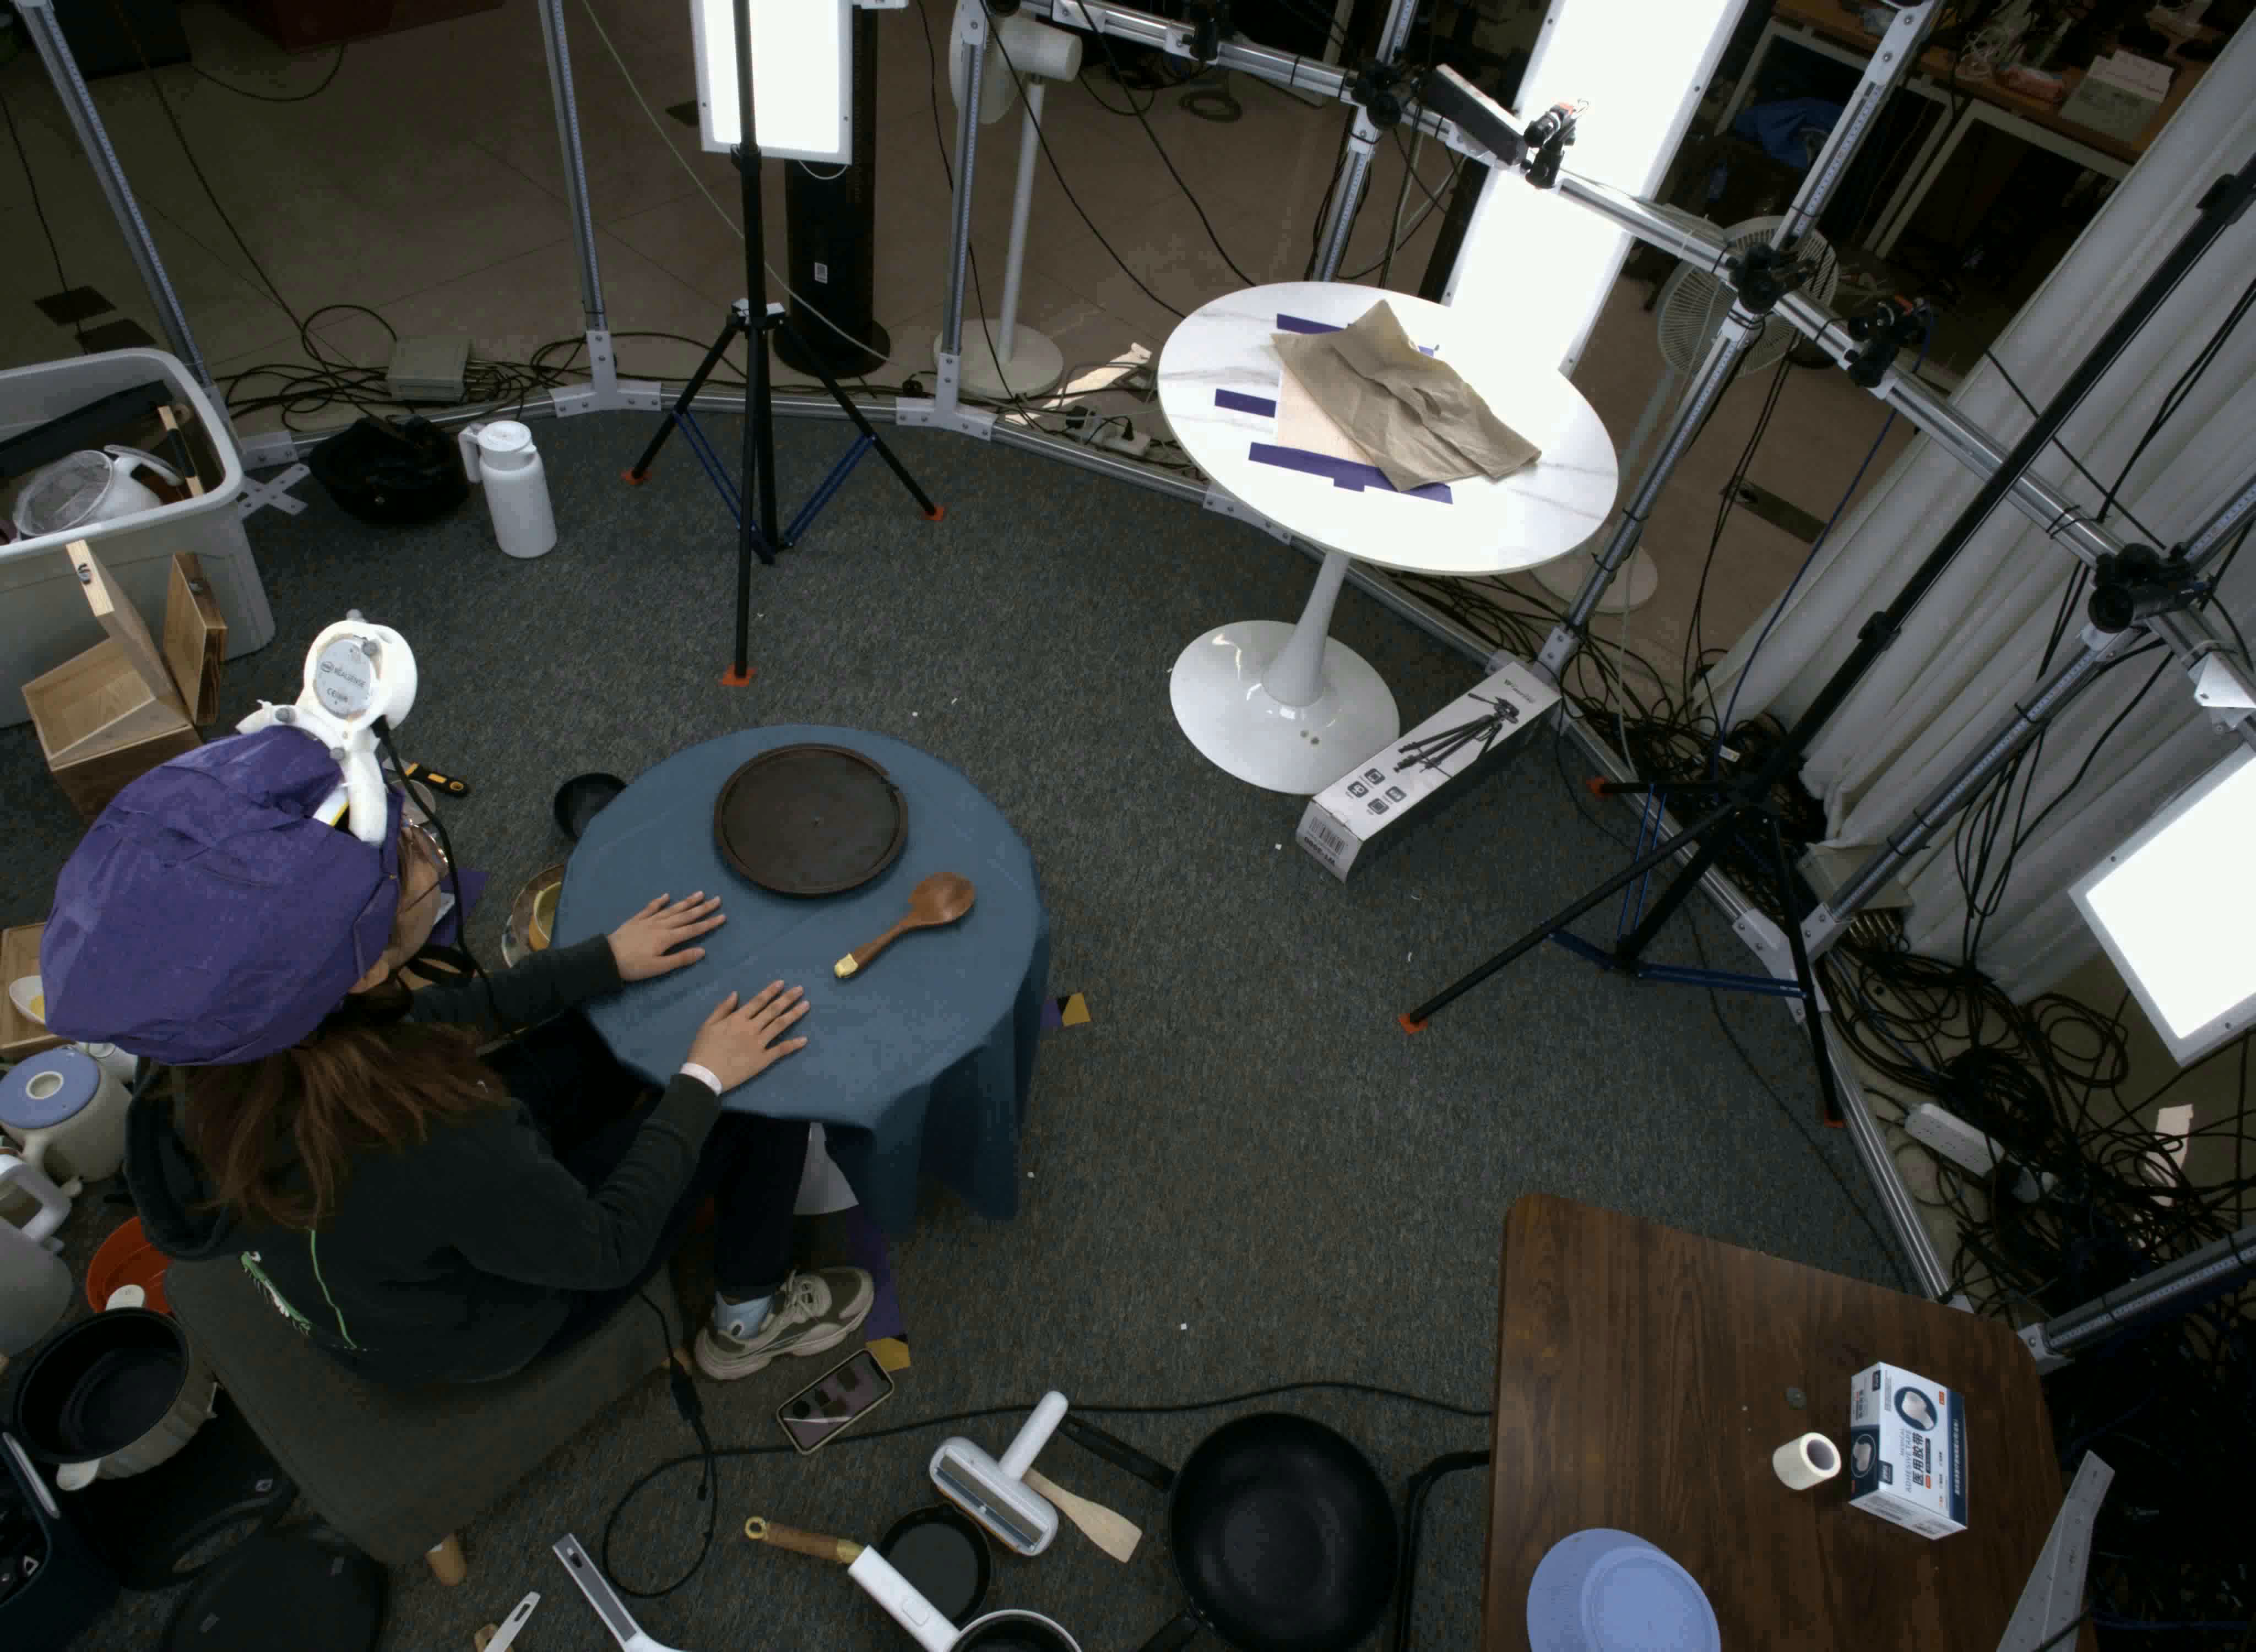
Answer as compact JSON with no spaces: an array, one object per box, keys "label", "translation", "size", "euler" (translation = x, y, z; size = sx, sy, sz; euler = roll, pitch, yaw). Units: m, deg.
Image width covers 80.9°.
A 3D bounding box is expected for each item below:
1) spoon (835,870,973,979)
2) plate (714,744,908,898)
[{"label":"spoon","translation":[-0.286,0.126,1.660],"size":[0.074,0.017,0.216],"euler":[41,55,17]},{"label":"plate","translation":[-0.420,-0.009,1.723],"size":[0.254,0.029,0.250],"euler":[8,51,-9]}]
